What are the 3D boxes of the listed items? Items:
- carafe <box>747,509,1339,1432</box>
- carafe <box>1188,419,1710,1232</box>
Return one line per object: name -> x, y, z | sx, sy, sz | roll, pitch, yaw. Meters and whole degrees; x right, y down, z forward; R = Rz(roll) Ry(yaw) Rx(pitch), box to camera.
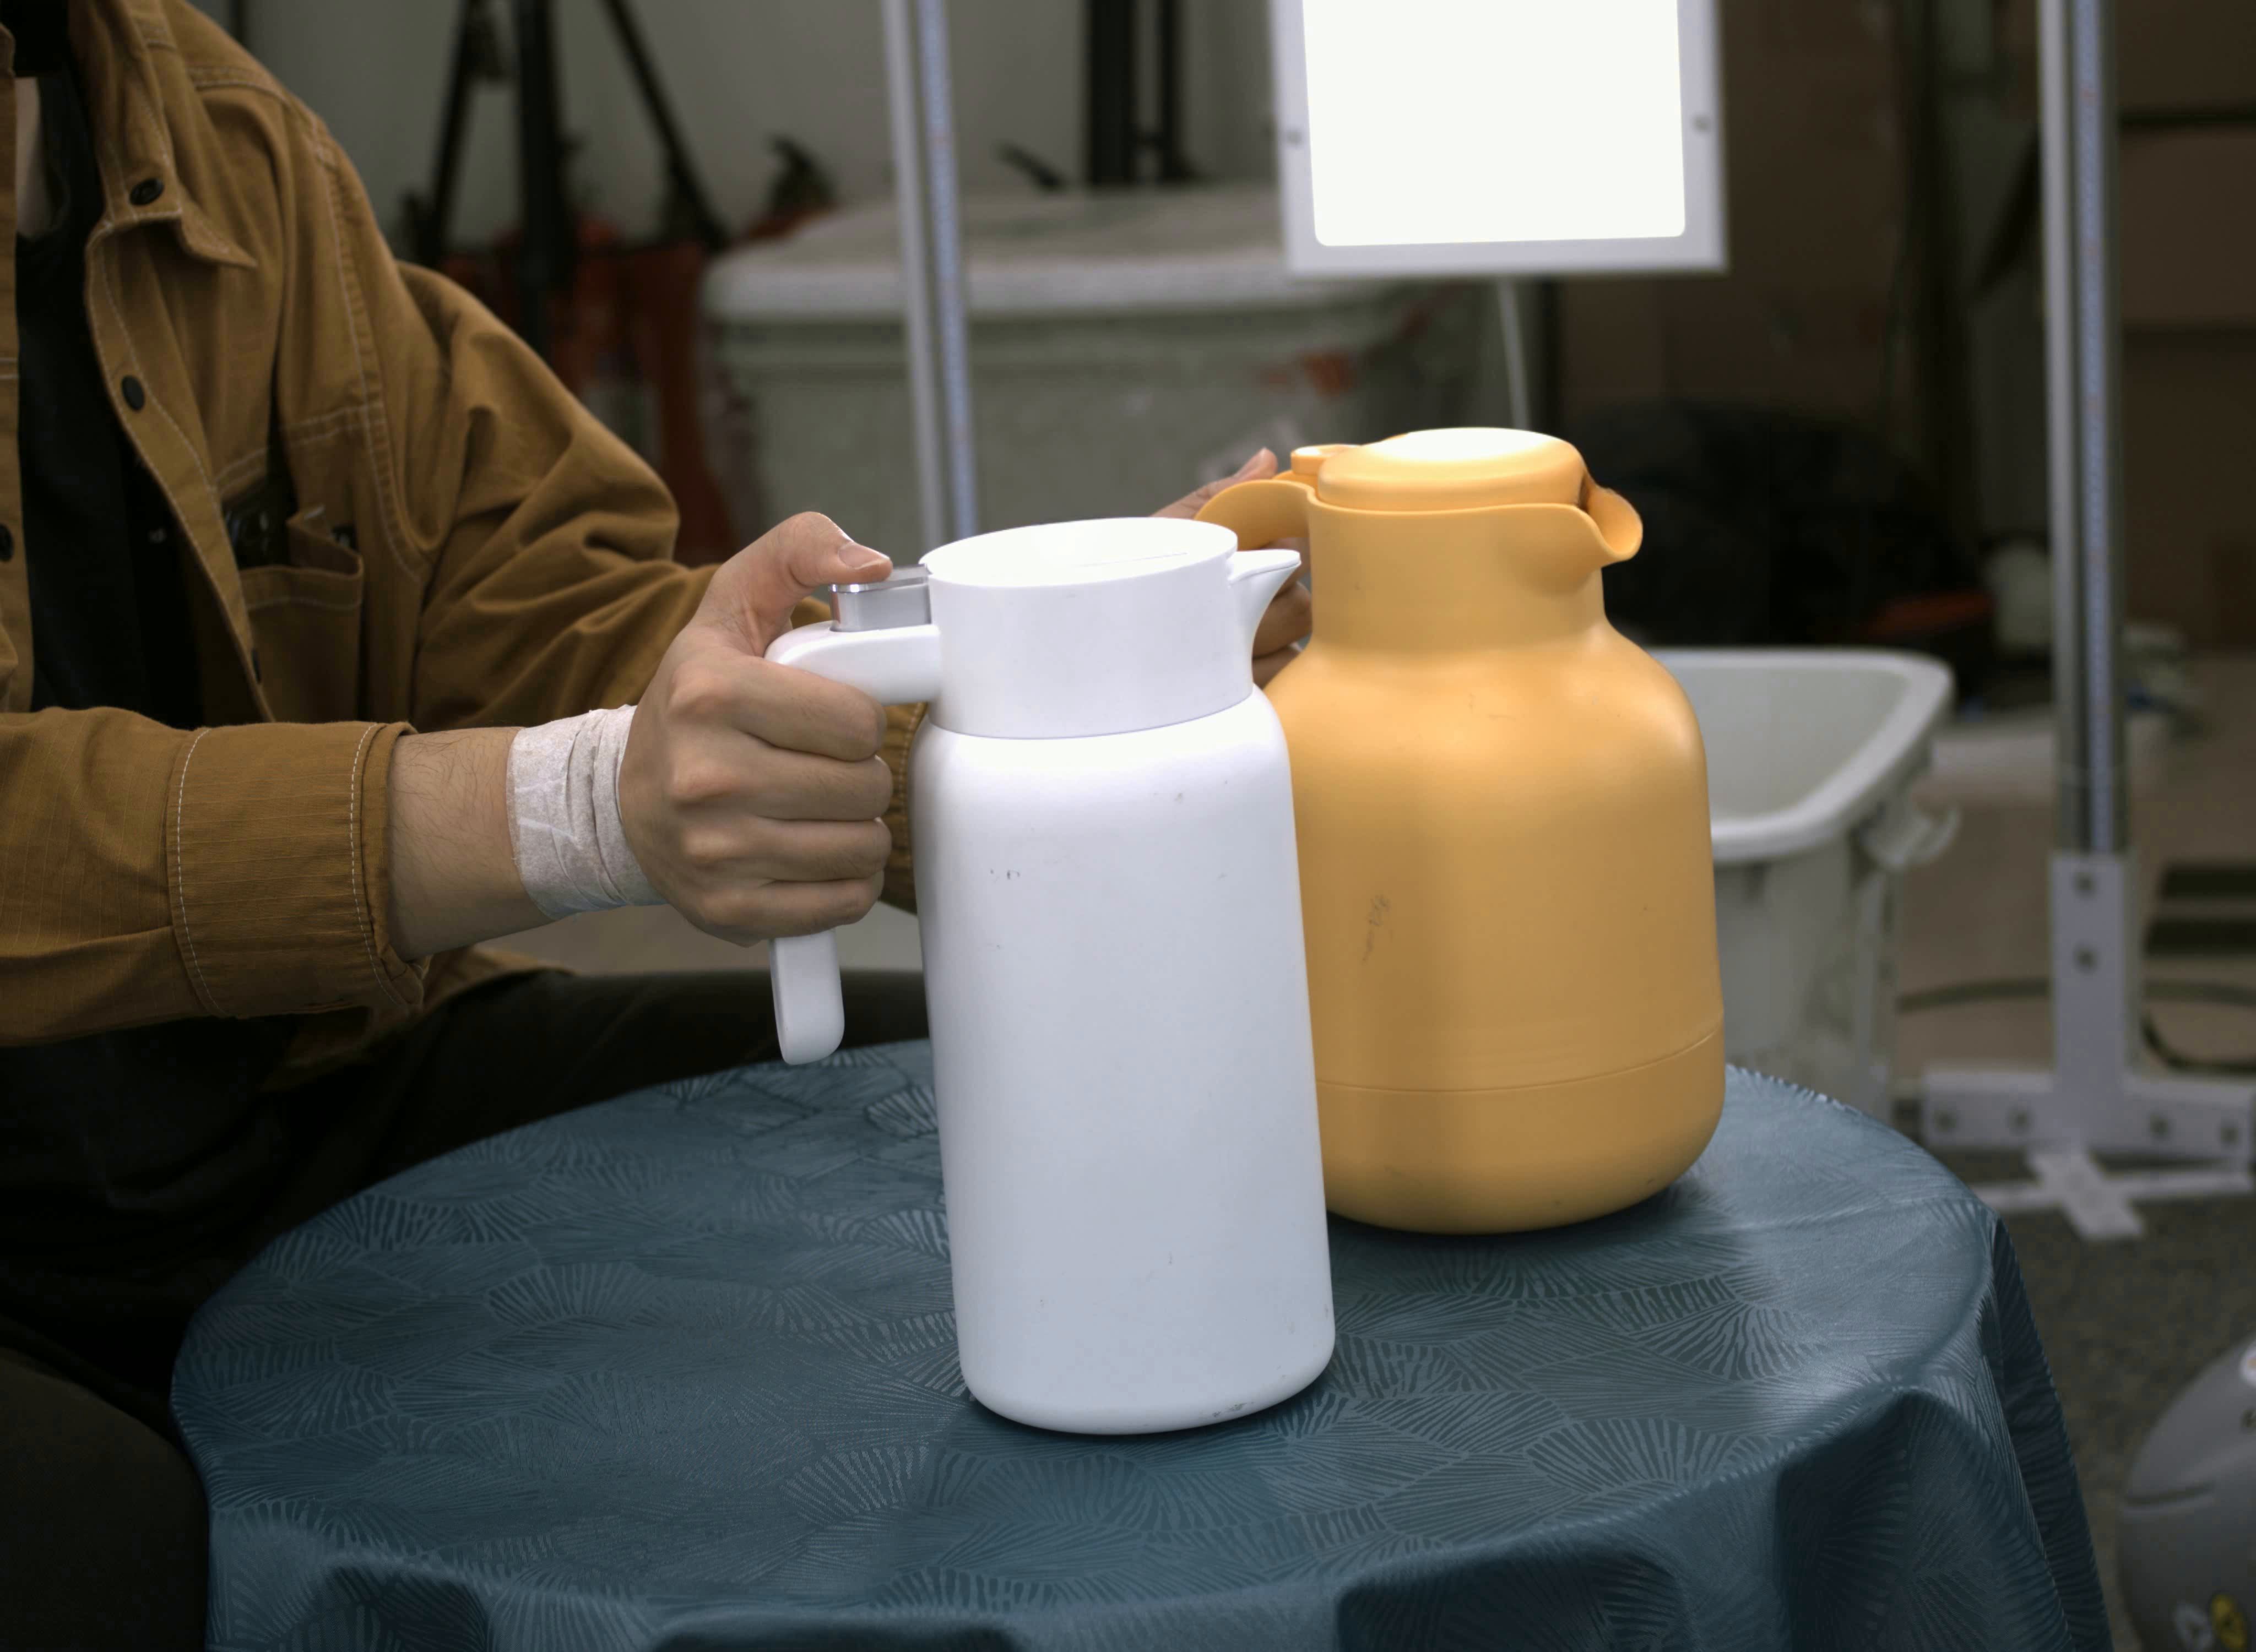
carafe -> -0.020, 0.045, 1.674 | 0.171, 0.270, 0.124 | -8, 16, -7
carafe -> 0.100, -0.007, 1.852 | 0.159, 0.261, 0.207 | -13, 17, -41
